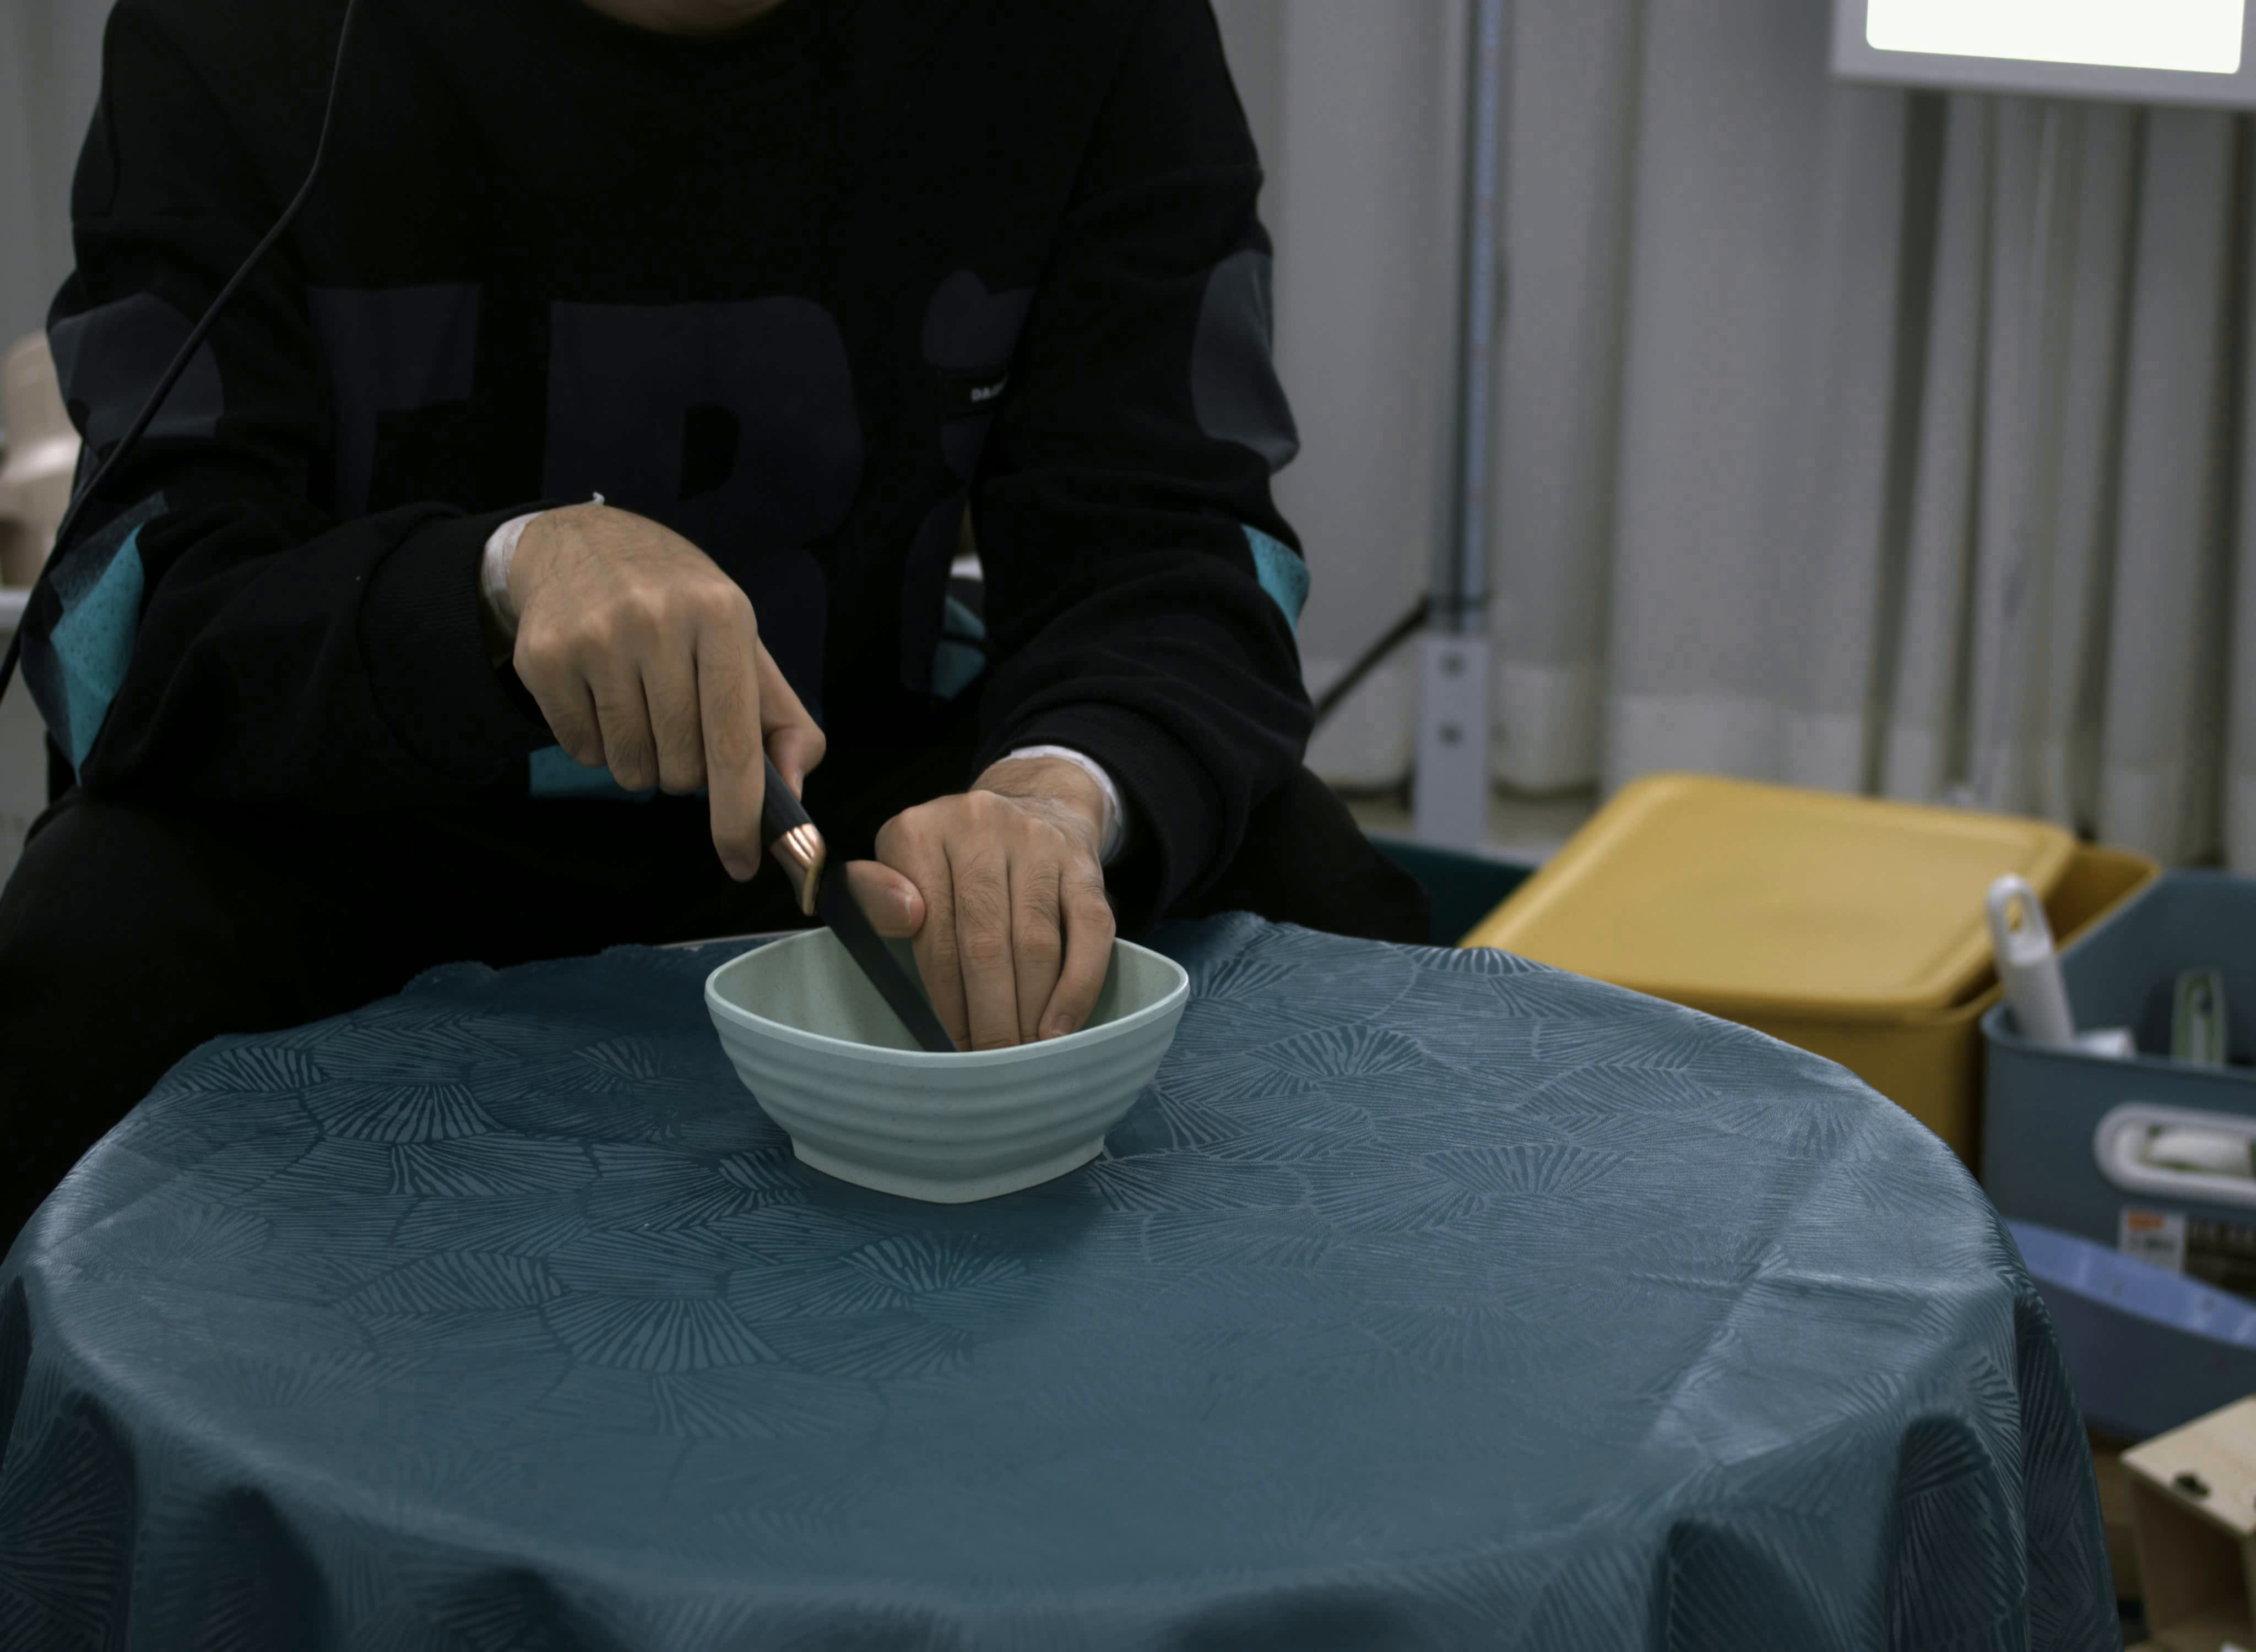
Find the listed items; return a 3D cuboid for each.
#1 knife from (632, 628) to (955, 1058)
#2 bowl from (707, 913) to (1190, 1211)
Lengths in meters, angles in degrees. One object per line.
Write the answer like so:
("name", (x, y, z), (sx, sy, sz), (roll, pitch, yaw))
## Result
("knife", (-0.097, 0.020, 1.669), (0.017, 0.026, 0.223), (-18, 58, -34))
("bowl", (-0.055, 0.077, 1.648), (0.151, 0.059, 0.150), (-1, 16, 1))
